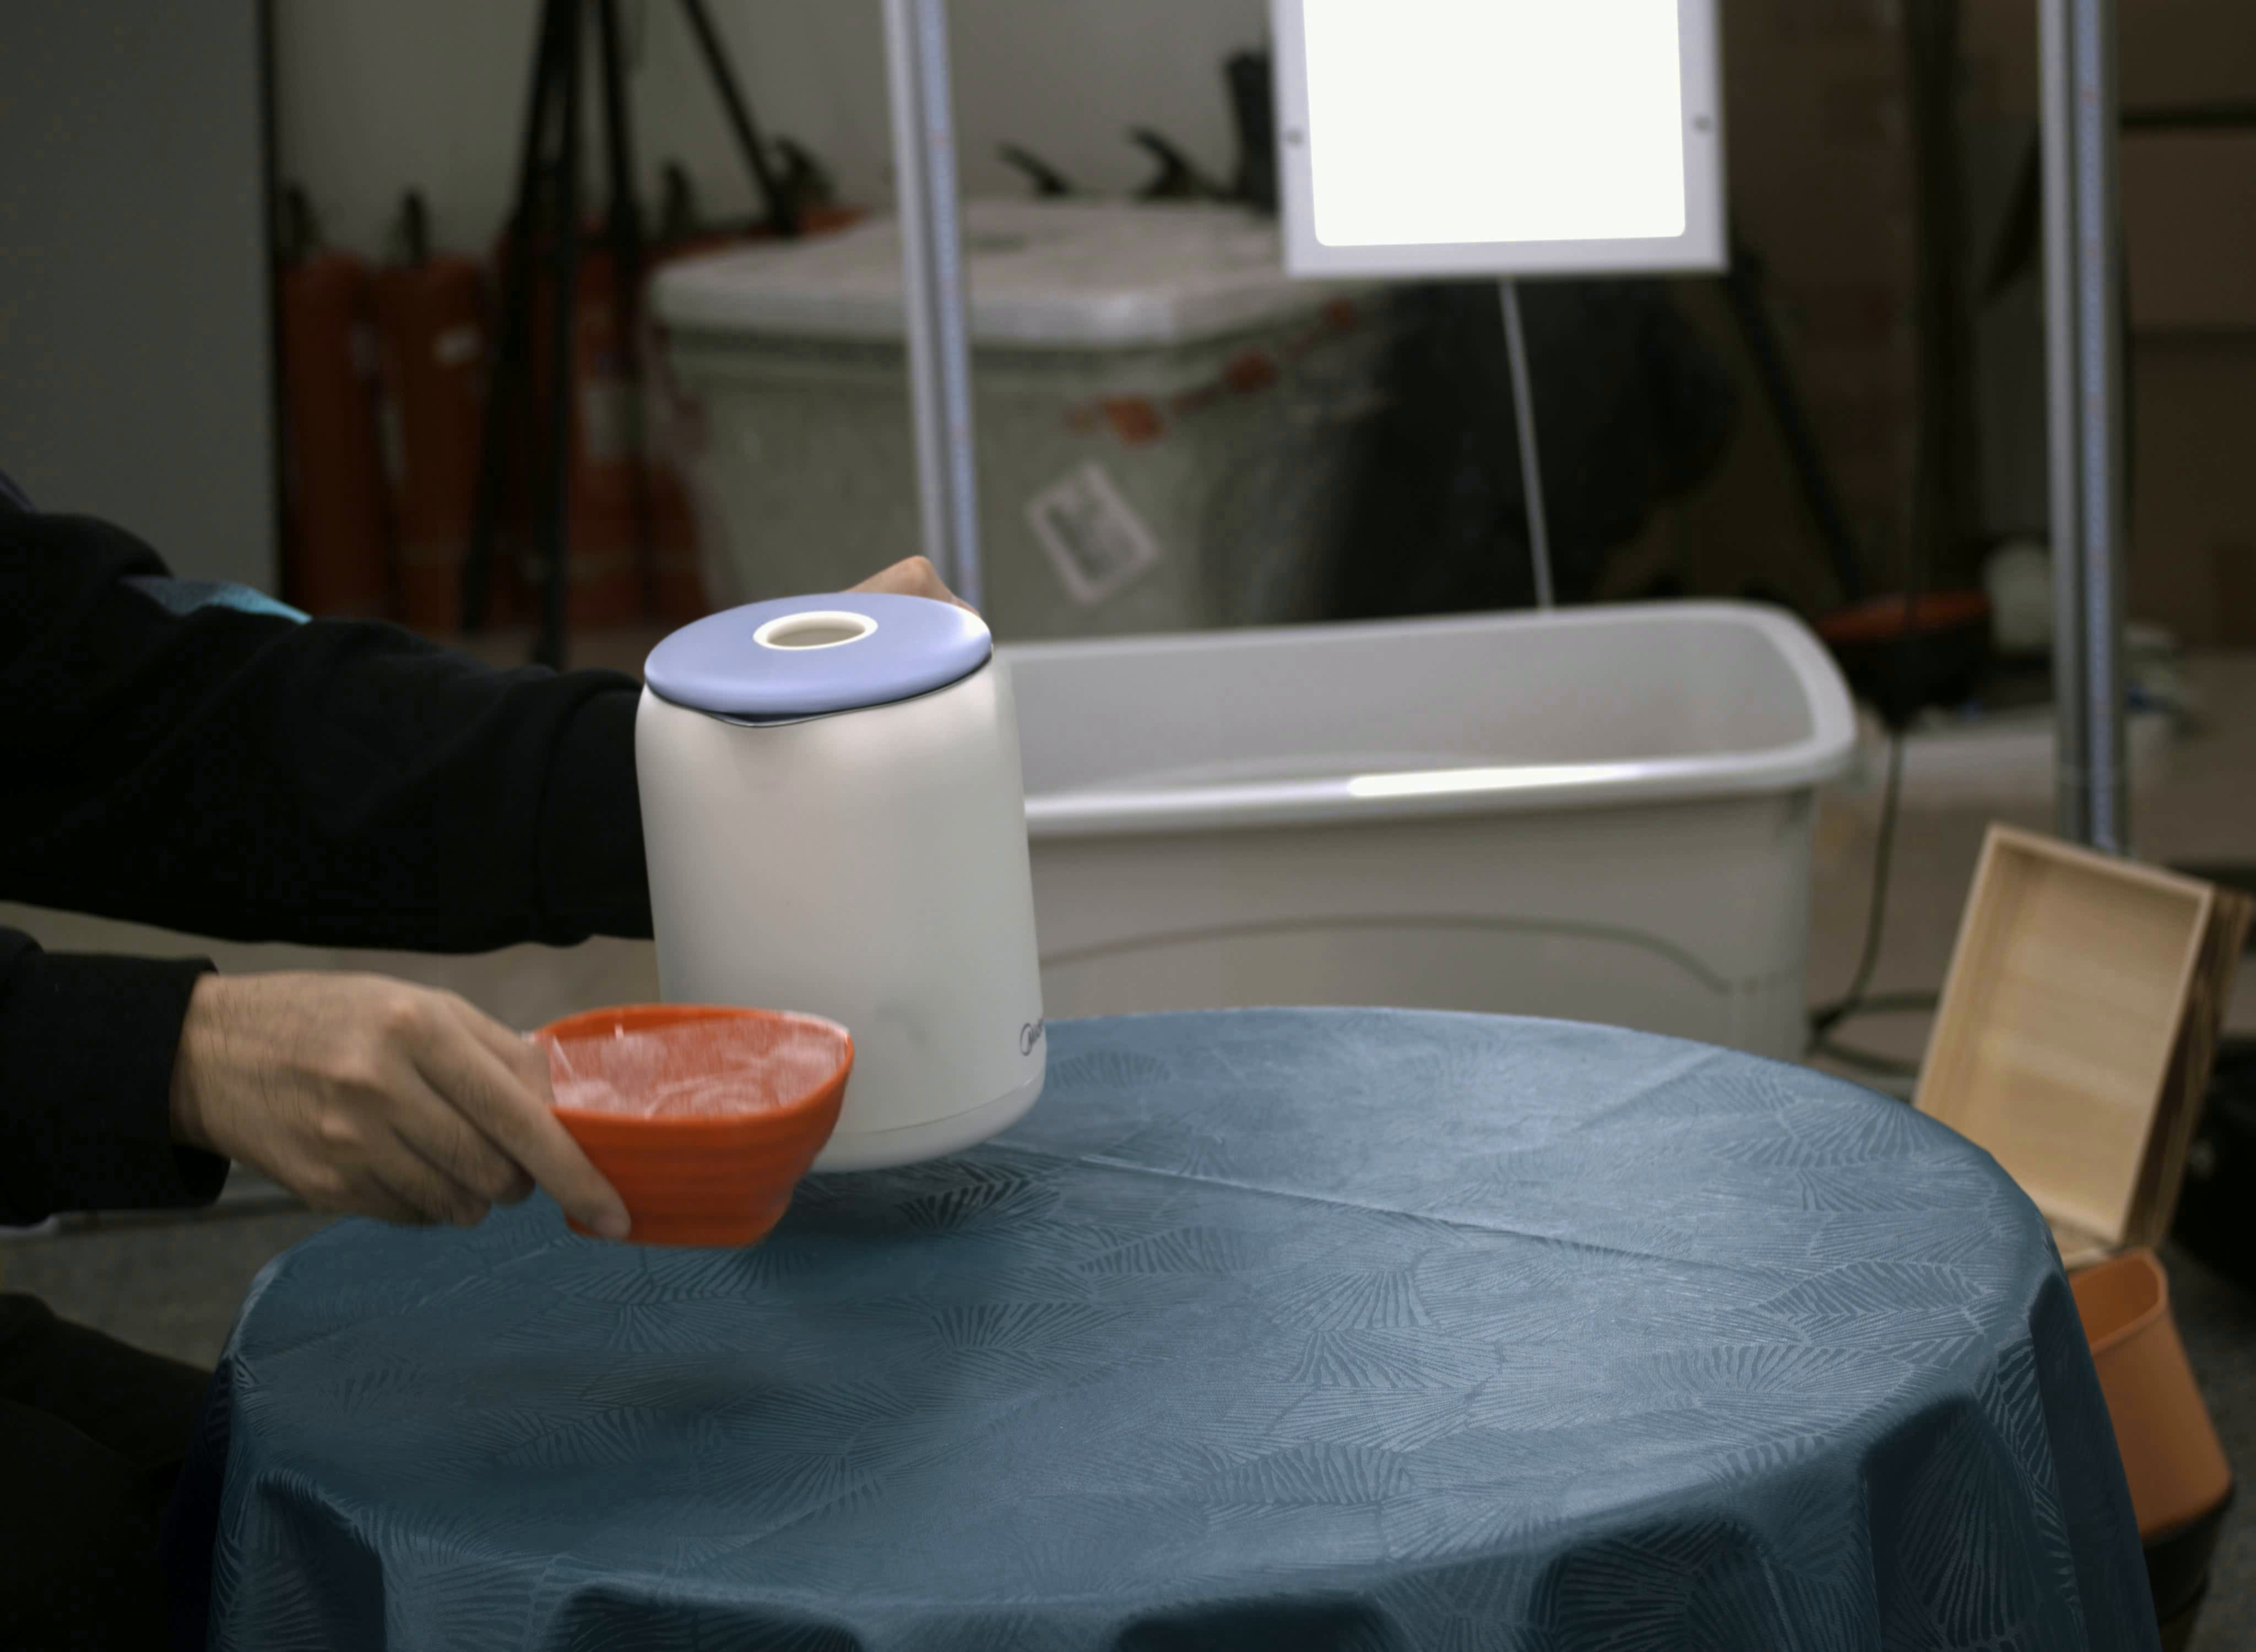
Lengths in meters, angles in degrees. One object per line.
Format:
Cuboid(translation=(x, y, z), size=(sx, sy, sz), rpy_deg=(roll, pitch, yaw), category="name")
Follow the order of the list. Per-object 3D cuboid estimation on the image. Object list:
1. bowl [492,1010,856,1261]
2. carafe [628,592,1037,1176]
Cuboid(translation=(-0.142, 0.100, 1.730), size=(0.118, 0.051, 0.119), rpy_deg=(0, 18, -1), category="bowl")
Cuboid(translation=(-0.095, 0.011, 1.907), size=(0.133, 0.183, 0.188), rpy_deg=(1, 17, 14), category="carafe")
